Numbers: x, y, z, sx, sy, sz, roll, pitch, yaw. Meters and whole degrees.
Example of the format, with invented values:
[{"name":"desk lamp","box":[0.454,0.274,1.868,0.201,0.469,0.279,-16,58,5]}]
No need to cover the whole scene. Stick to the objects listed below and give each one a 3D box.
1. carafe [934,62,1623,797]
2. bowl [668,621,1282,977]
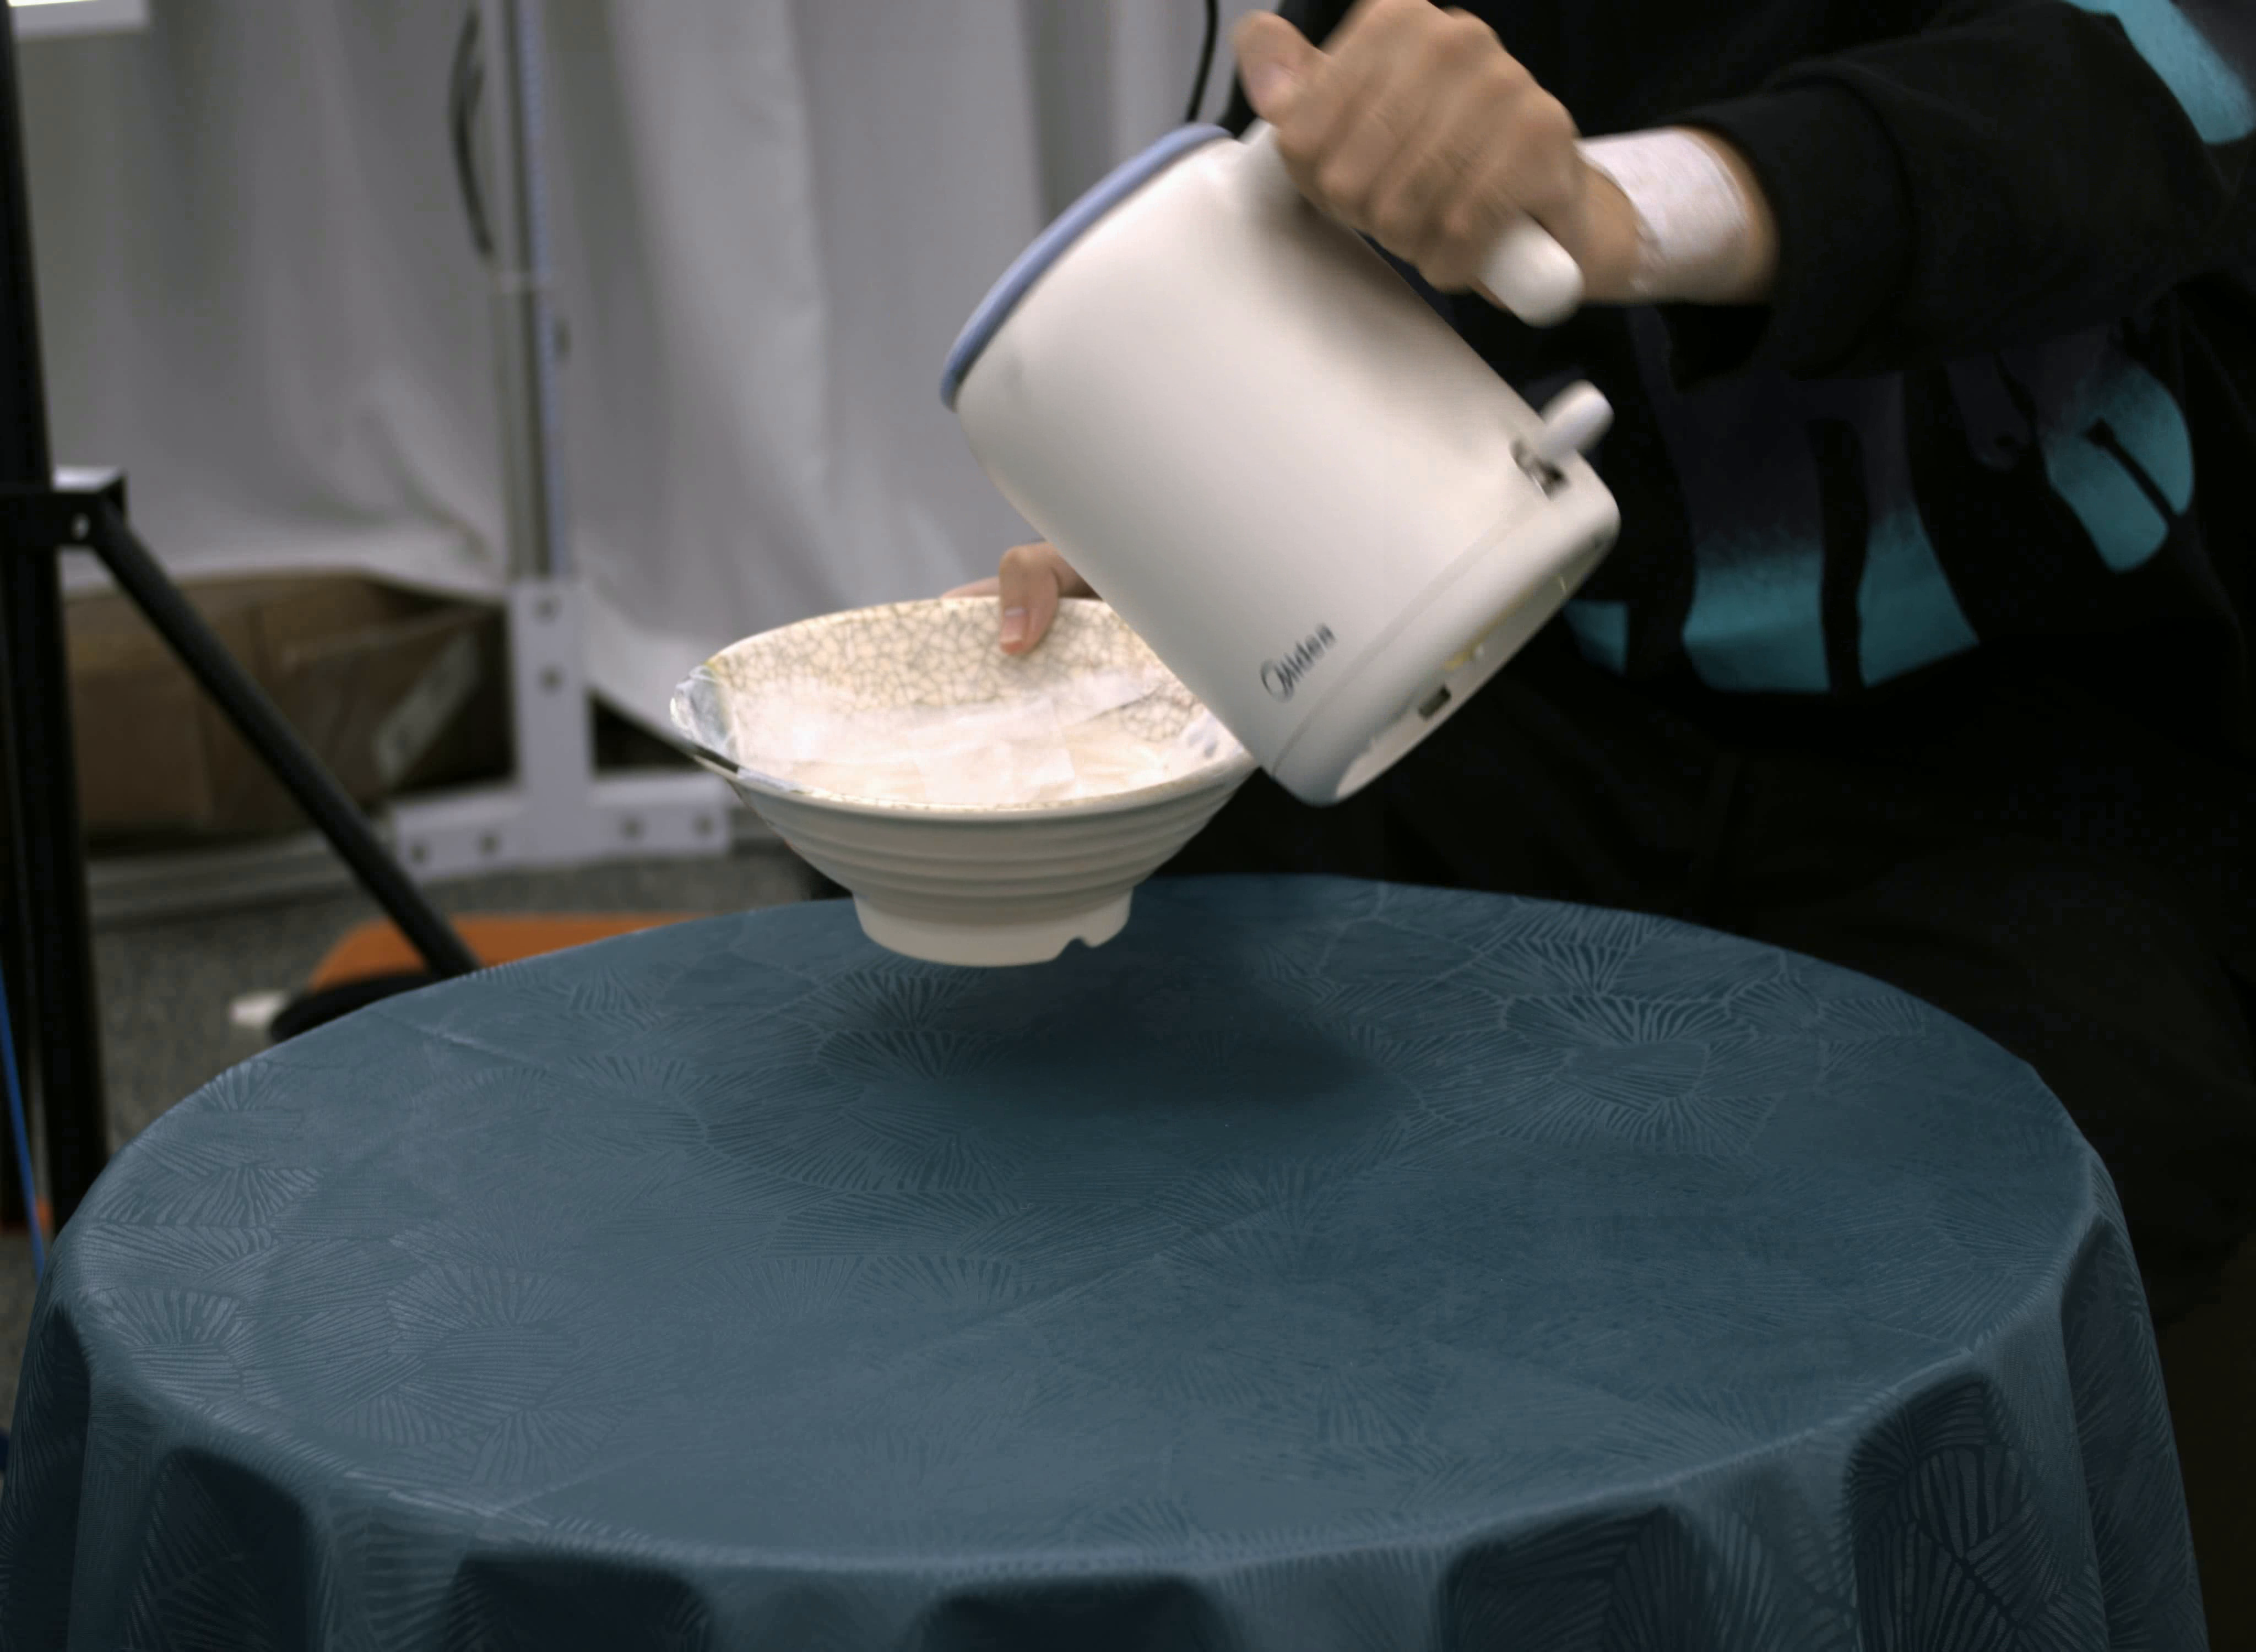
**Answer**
[{"name":"carafe","box":[0.056,-0.126,1.571,0.184,0.193,0.130,47,36,8]},{"name":"bowl","box":[-0.047,-0.002,1.707,0.203,0.078,0.205,2,17,-2]}]
